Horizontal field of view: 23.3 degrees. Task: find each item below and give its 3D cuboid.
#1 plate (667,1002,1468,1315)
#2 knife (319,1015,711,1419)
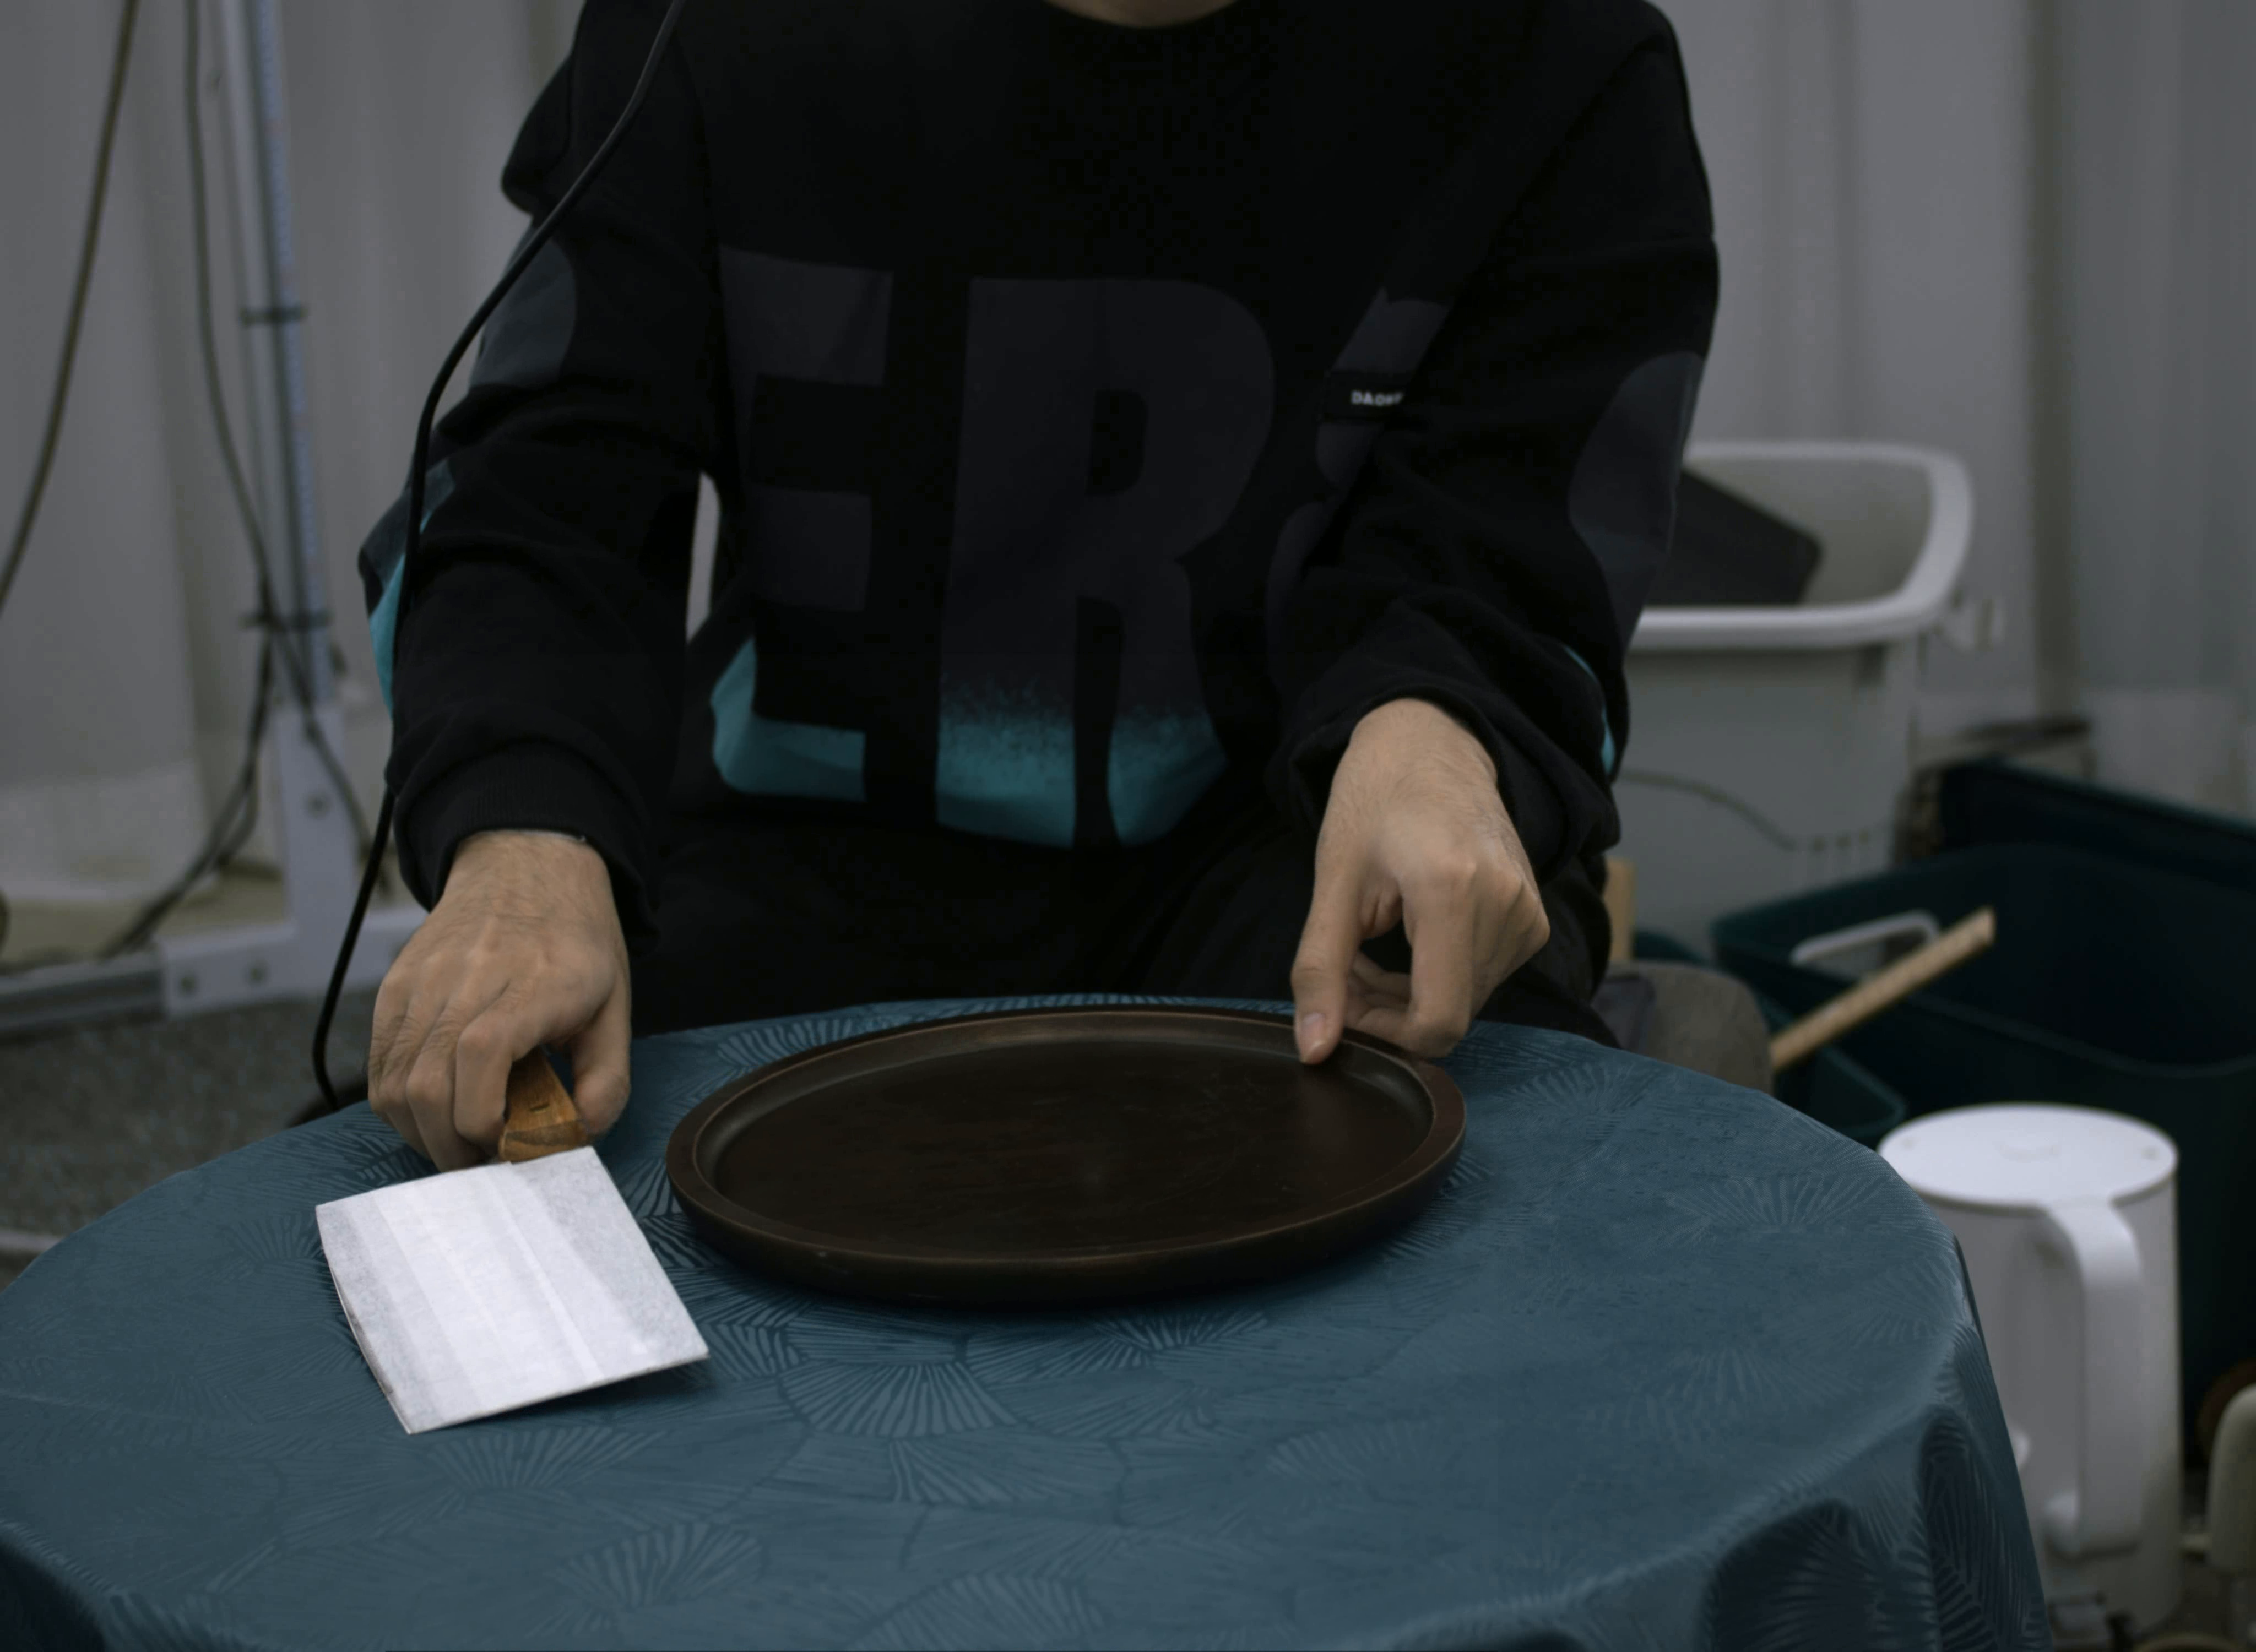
[{"bbox_3d":[-0.019,0.102,1.717,0.254,0.029,0.256,-1,15,0],"label":"plate"},{"bbox_3d":[-0.201,0.120,1.693,0.092,0.021,0.308,-14,19,-12],"label":"knife"}]
